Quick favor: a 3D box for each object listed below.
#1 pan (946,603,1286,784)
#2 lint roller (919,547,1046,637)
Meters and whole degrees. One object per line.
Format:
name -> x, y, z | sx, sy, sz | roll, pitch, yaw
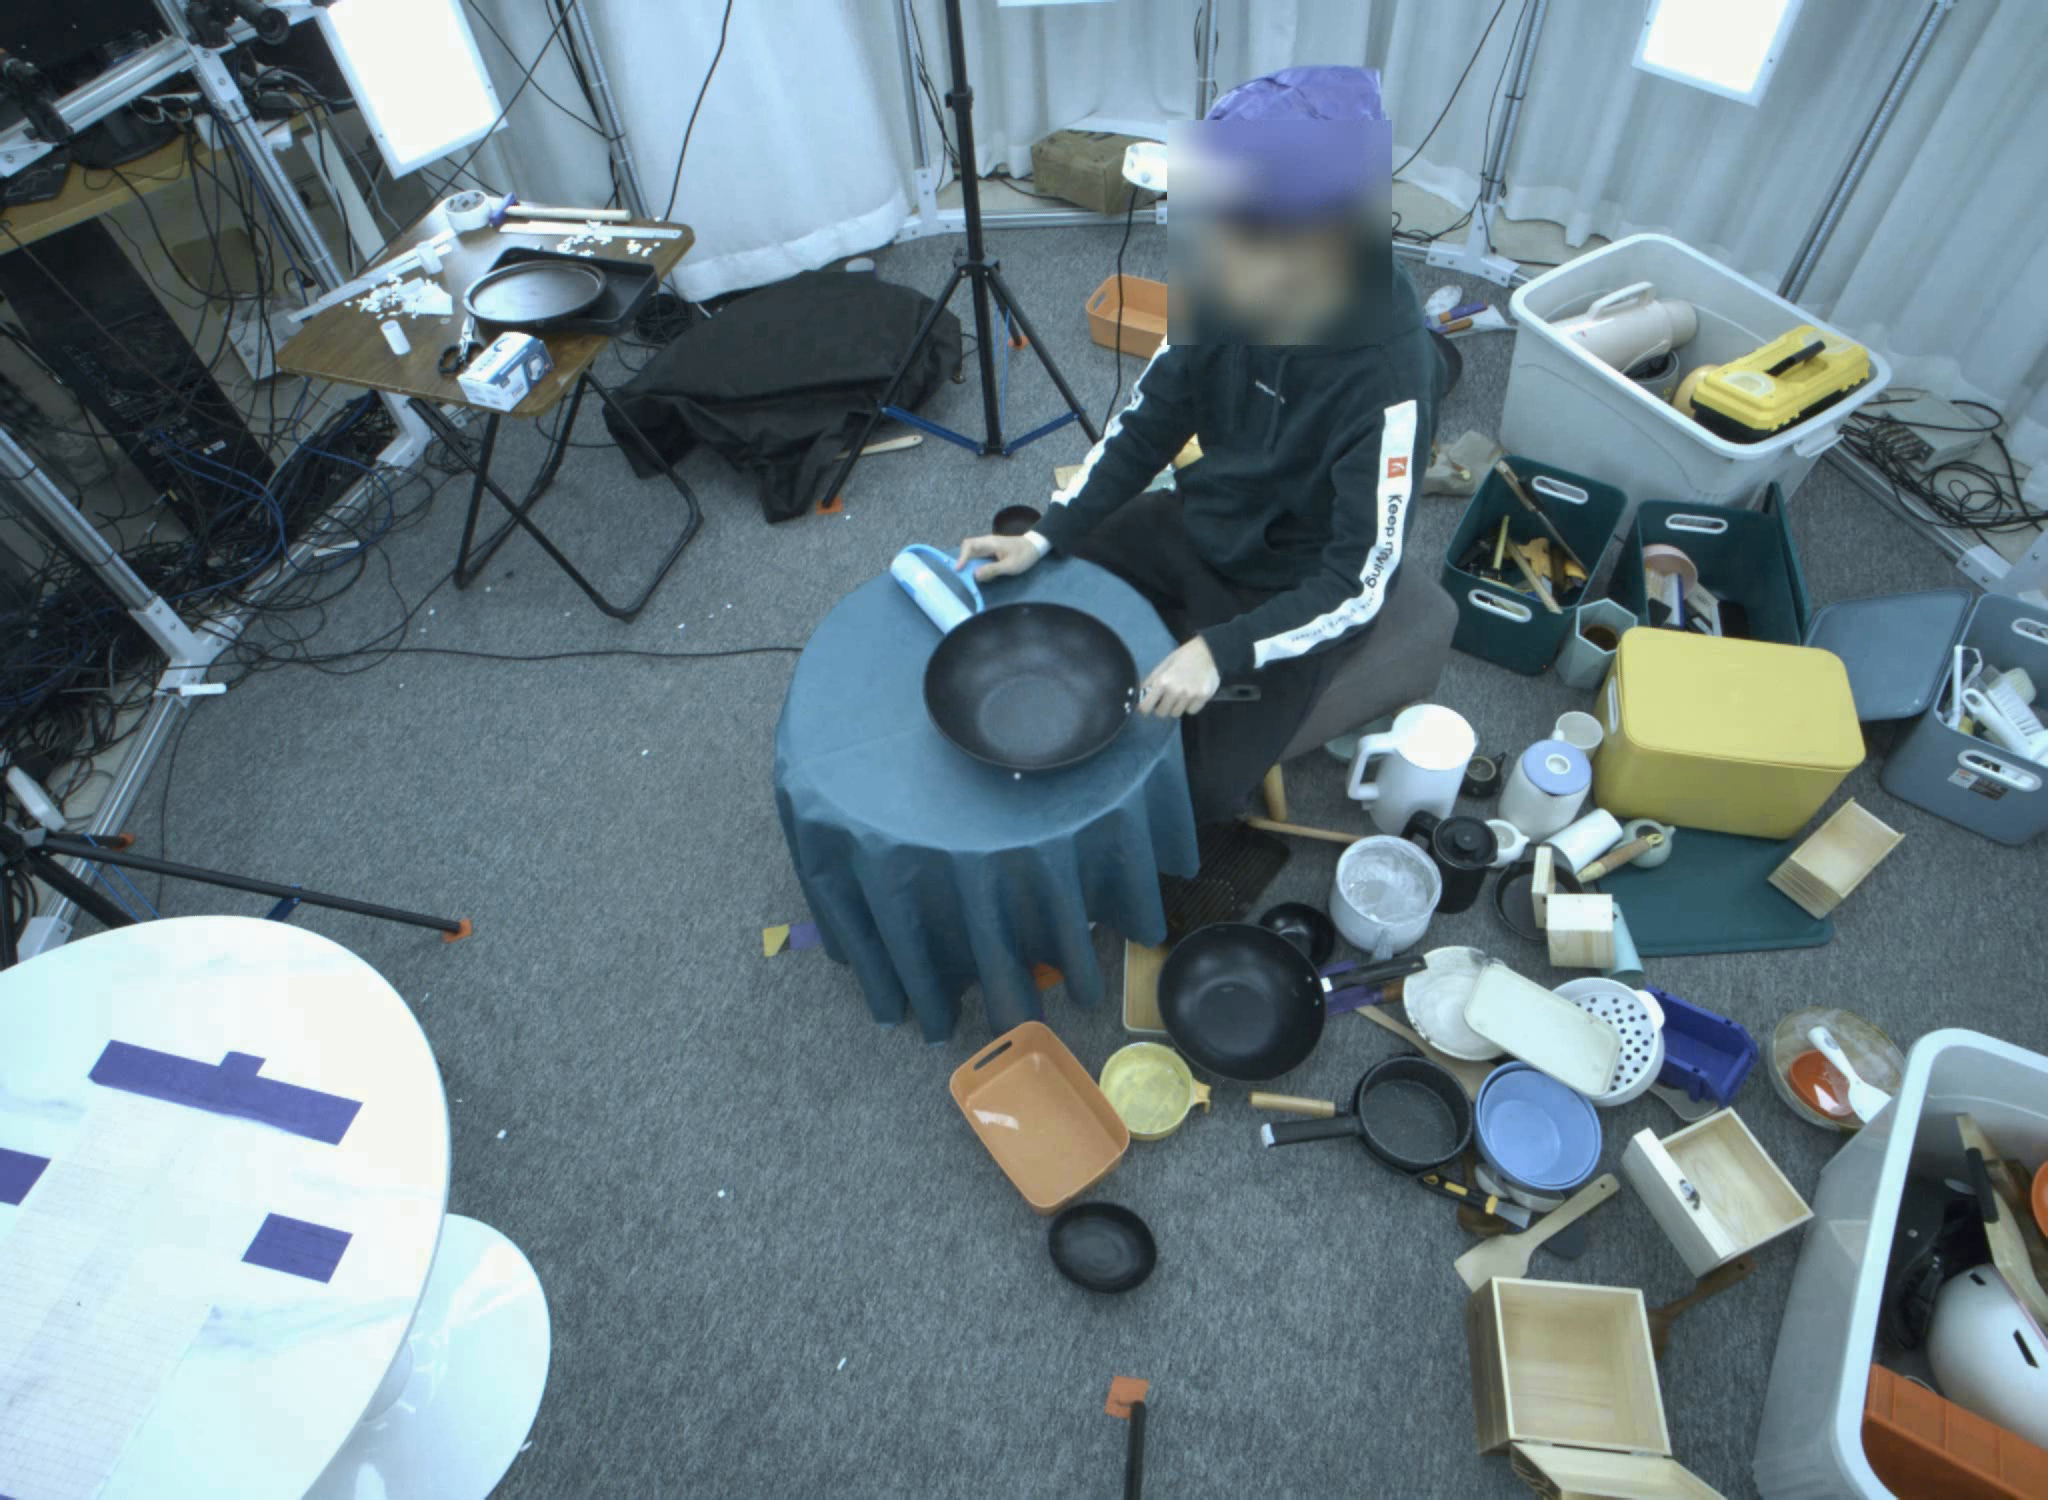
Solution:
pan -> 0.127, -0.063, 1.759 | 0.475, 0.112, 0.308 | 8, 57, 5
lint roller -> -0.045, -0.264, 1.937 | 0.181, 0.069, 0.224 | -34, 58, -19
